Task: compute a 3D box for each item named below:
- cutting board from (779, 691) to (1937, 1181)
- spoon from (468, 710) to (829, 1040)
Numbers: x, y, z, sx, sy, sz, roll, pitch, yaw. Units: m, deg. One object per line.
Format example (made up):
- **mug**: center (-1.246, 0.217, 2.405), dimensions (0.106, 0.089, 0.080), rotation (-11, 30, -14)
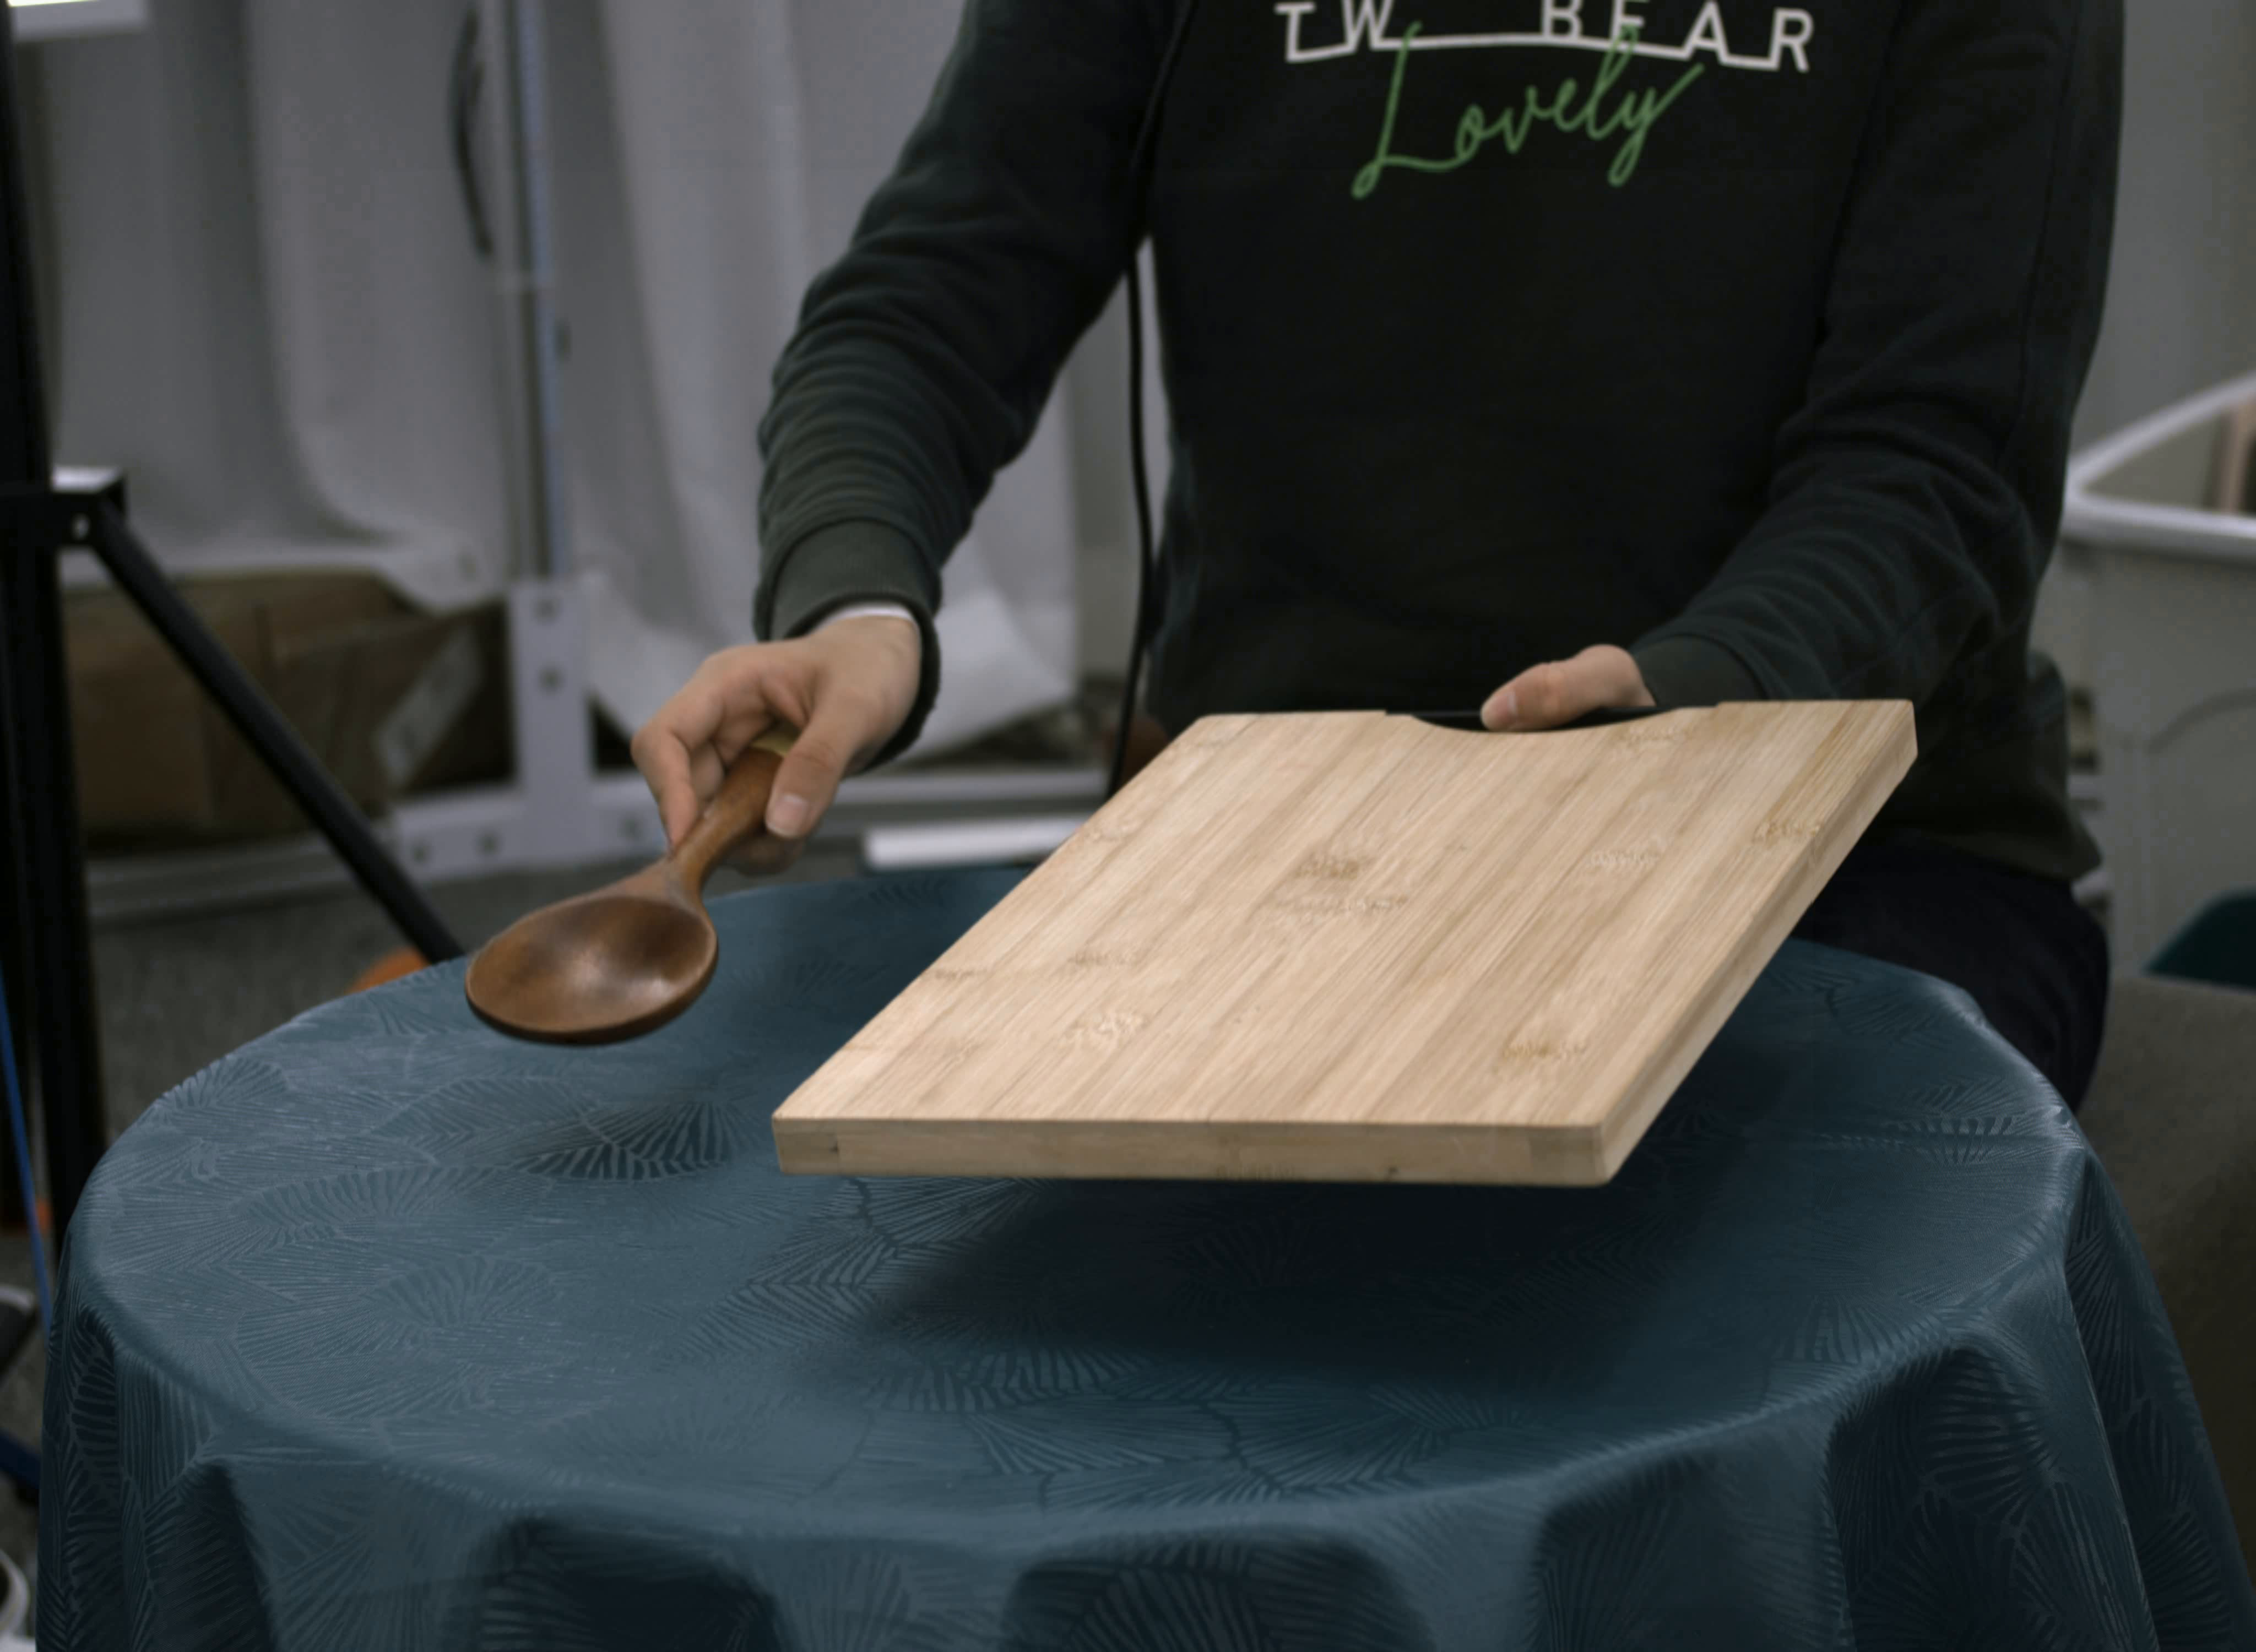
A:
- **cutting board**: center (0.077, 0.026, 1.553), dimensions (0.254, 0.023, 0.345), rotation (-1, 20, 23)
- **spoon**: center (-0.140, 0.016, 1.672), dimensions (0.076, 0.017, 0.214), rotation (4, 28, 19)
